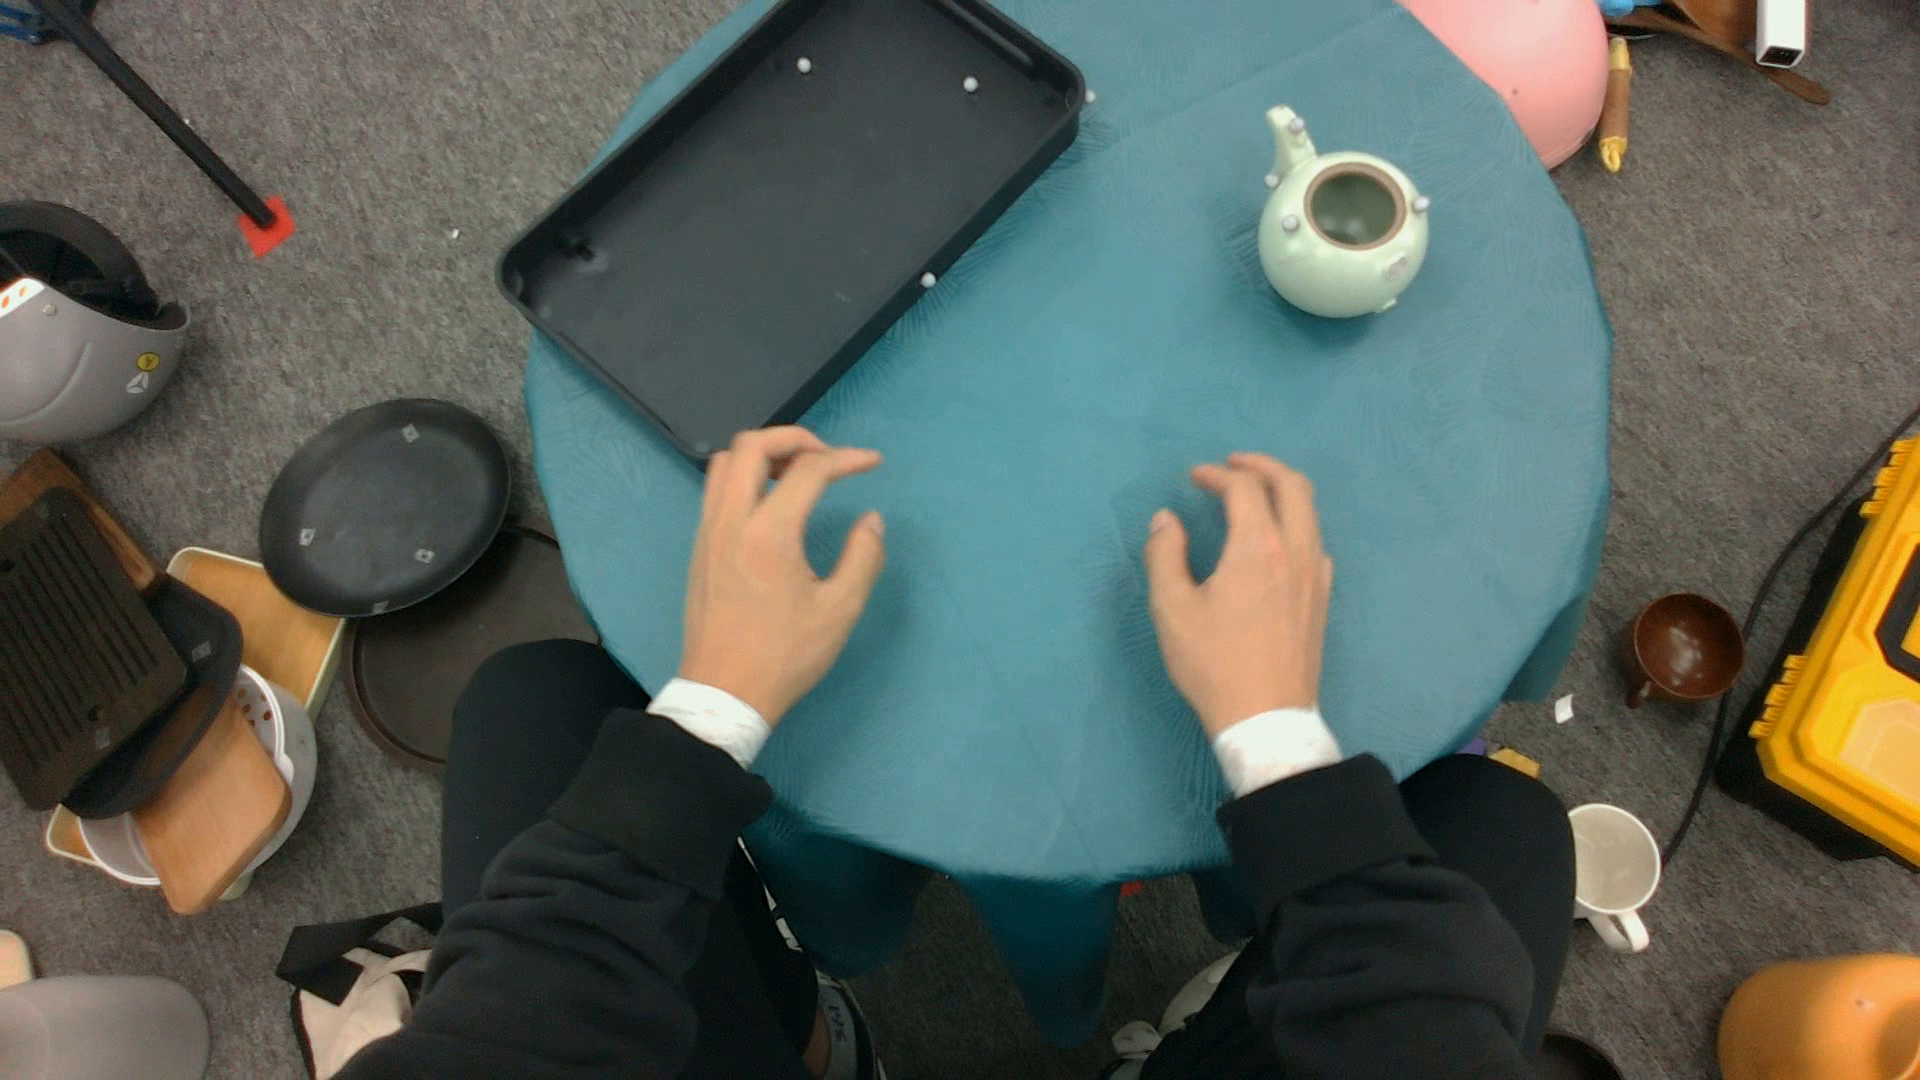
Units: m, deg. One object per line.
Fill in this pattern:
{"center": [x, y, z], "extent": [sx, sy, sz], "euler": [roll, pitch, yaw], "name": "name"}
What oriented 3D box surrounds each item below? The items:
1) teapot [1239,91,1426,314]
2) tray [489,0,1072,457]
{"center": [0.197, -0.174, 0.747], "extent": [0.088, 0.074, 0.144], "euler": [-31, 72, -8], "name": "teapot"}
{"center": [-0.097, -0.210, 0.787], "extent": [0.184, 0.037, 0.318], "euler": [38, 76, 13], "name": "tray"}
